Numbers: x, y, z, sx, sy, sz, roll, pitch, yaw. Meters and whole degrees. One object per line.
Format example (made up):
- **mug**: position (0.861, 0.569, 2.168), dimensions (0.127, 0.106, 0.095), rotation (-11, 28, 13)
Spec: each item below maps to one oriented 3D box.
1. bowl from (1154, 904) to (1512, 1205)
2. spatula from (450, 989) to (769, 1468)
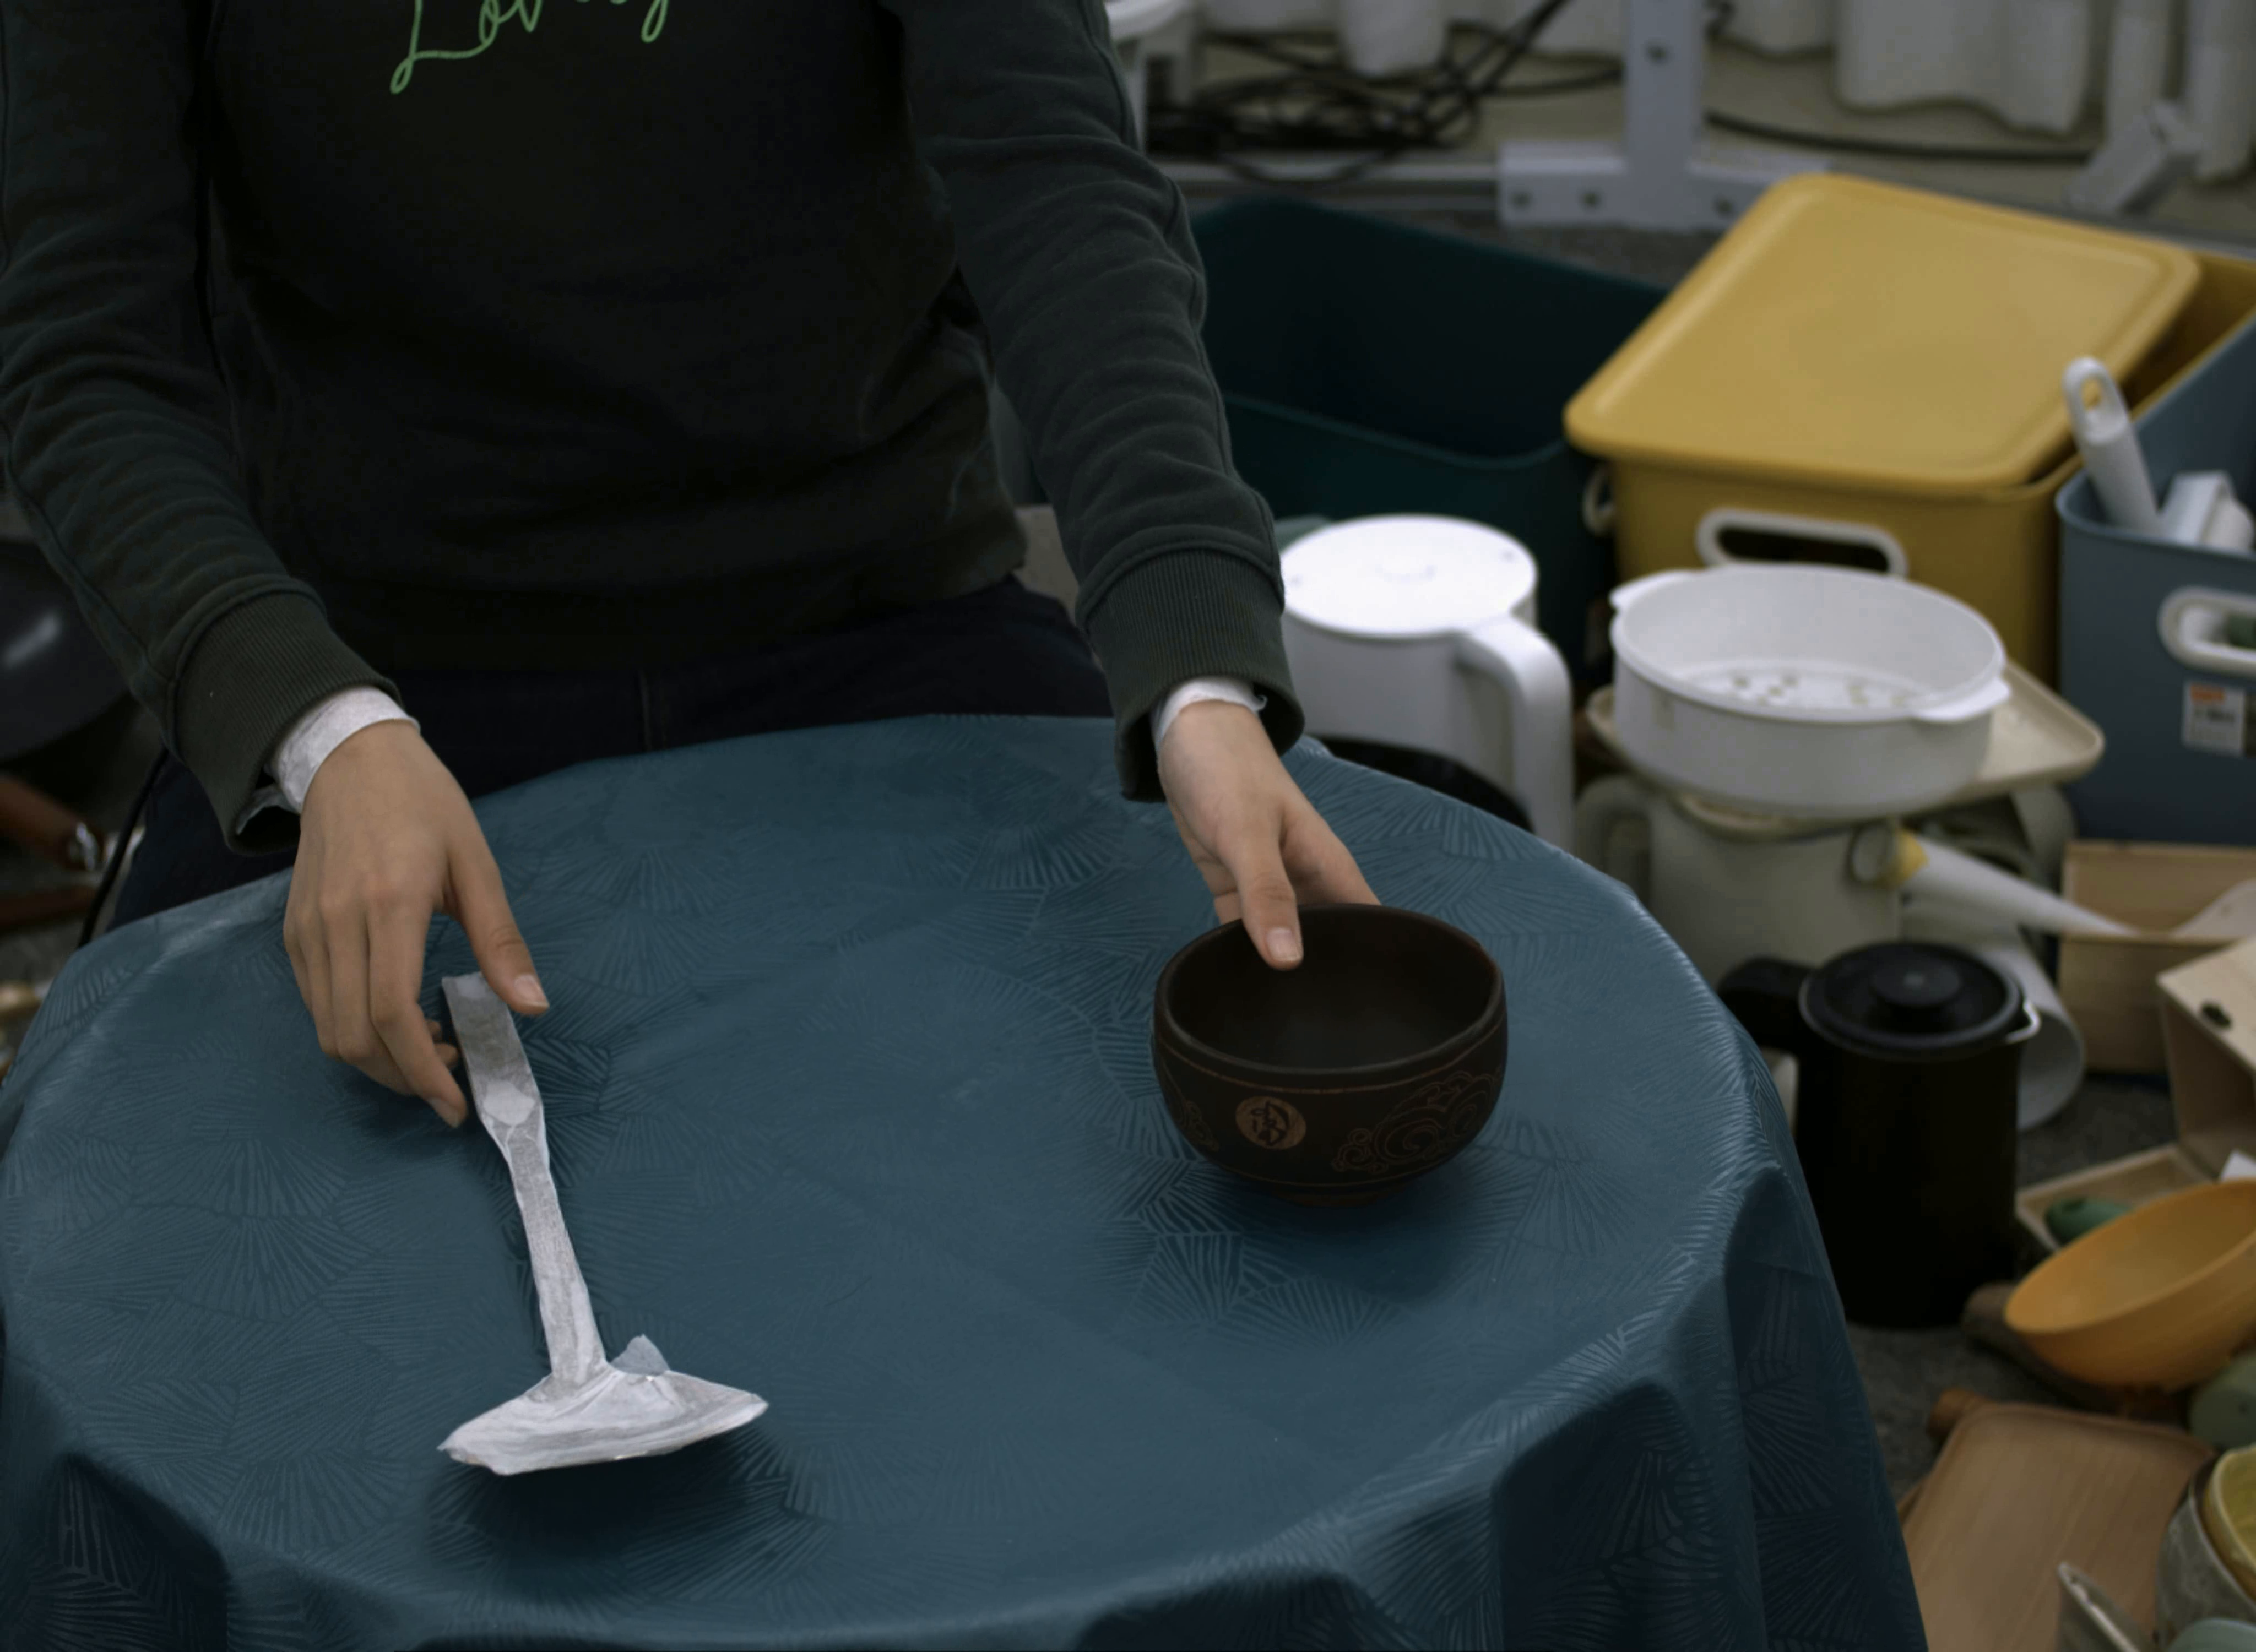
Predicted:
- **bowl**: position (0.068, 0.082, 1.855), dimensions (0.117, 0.069, 0.119), rotation (-2, 25, 1)
- **spatula**: position (-0.188, 0.123, 1.835), dimensions (0.098, 0.044, 0.369), rotation (-10, 28, -9)
